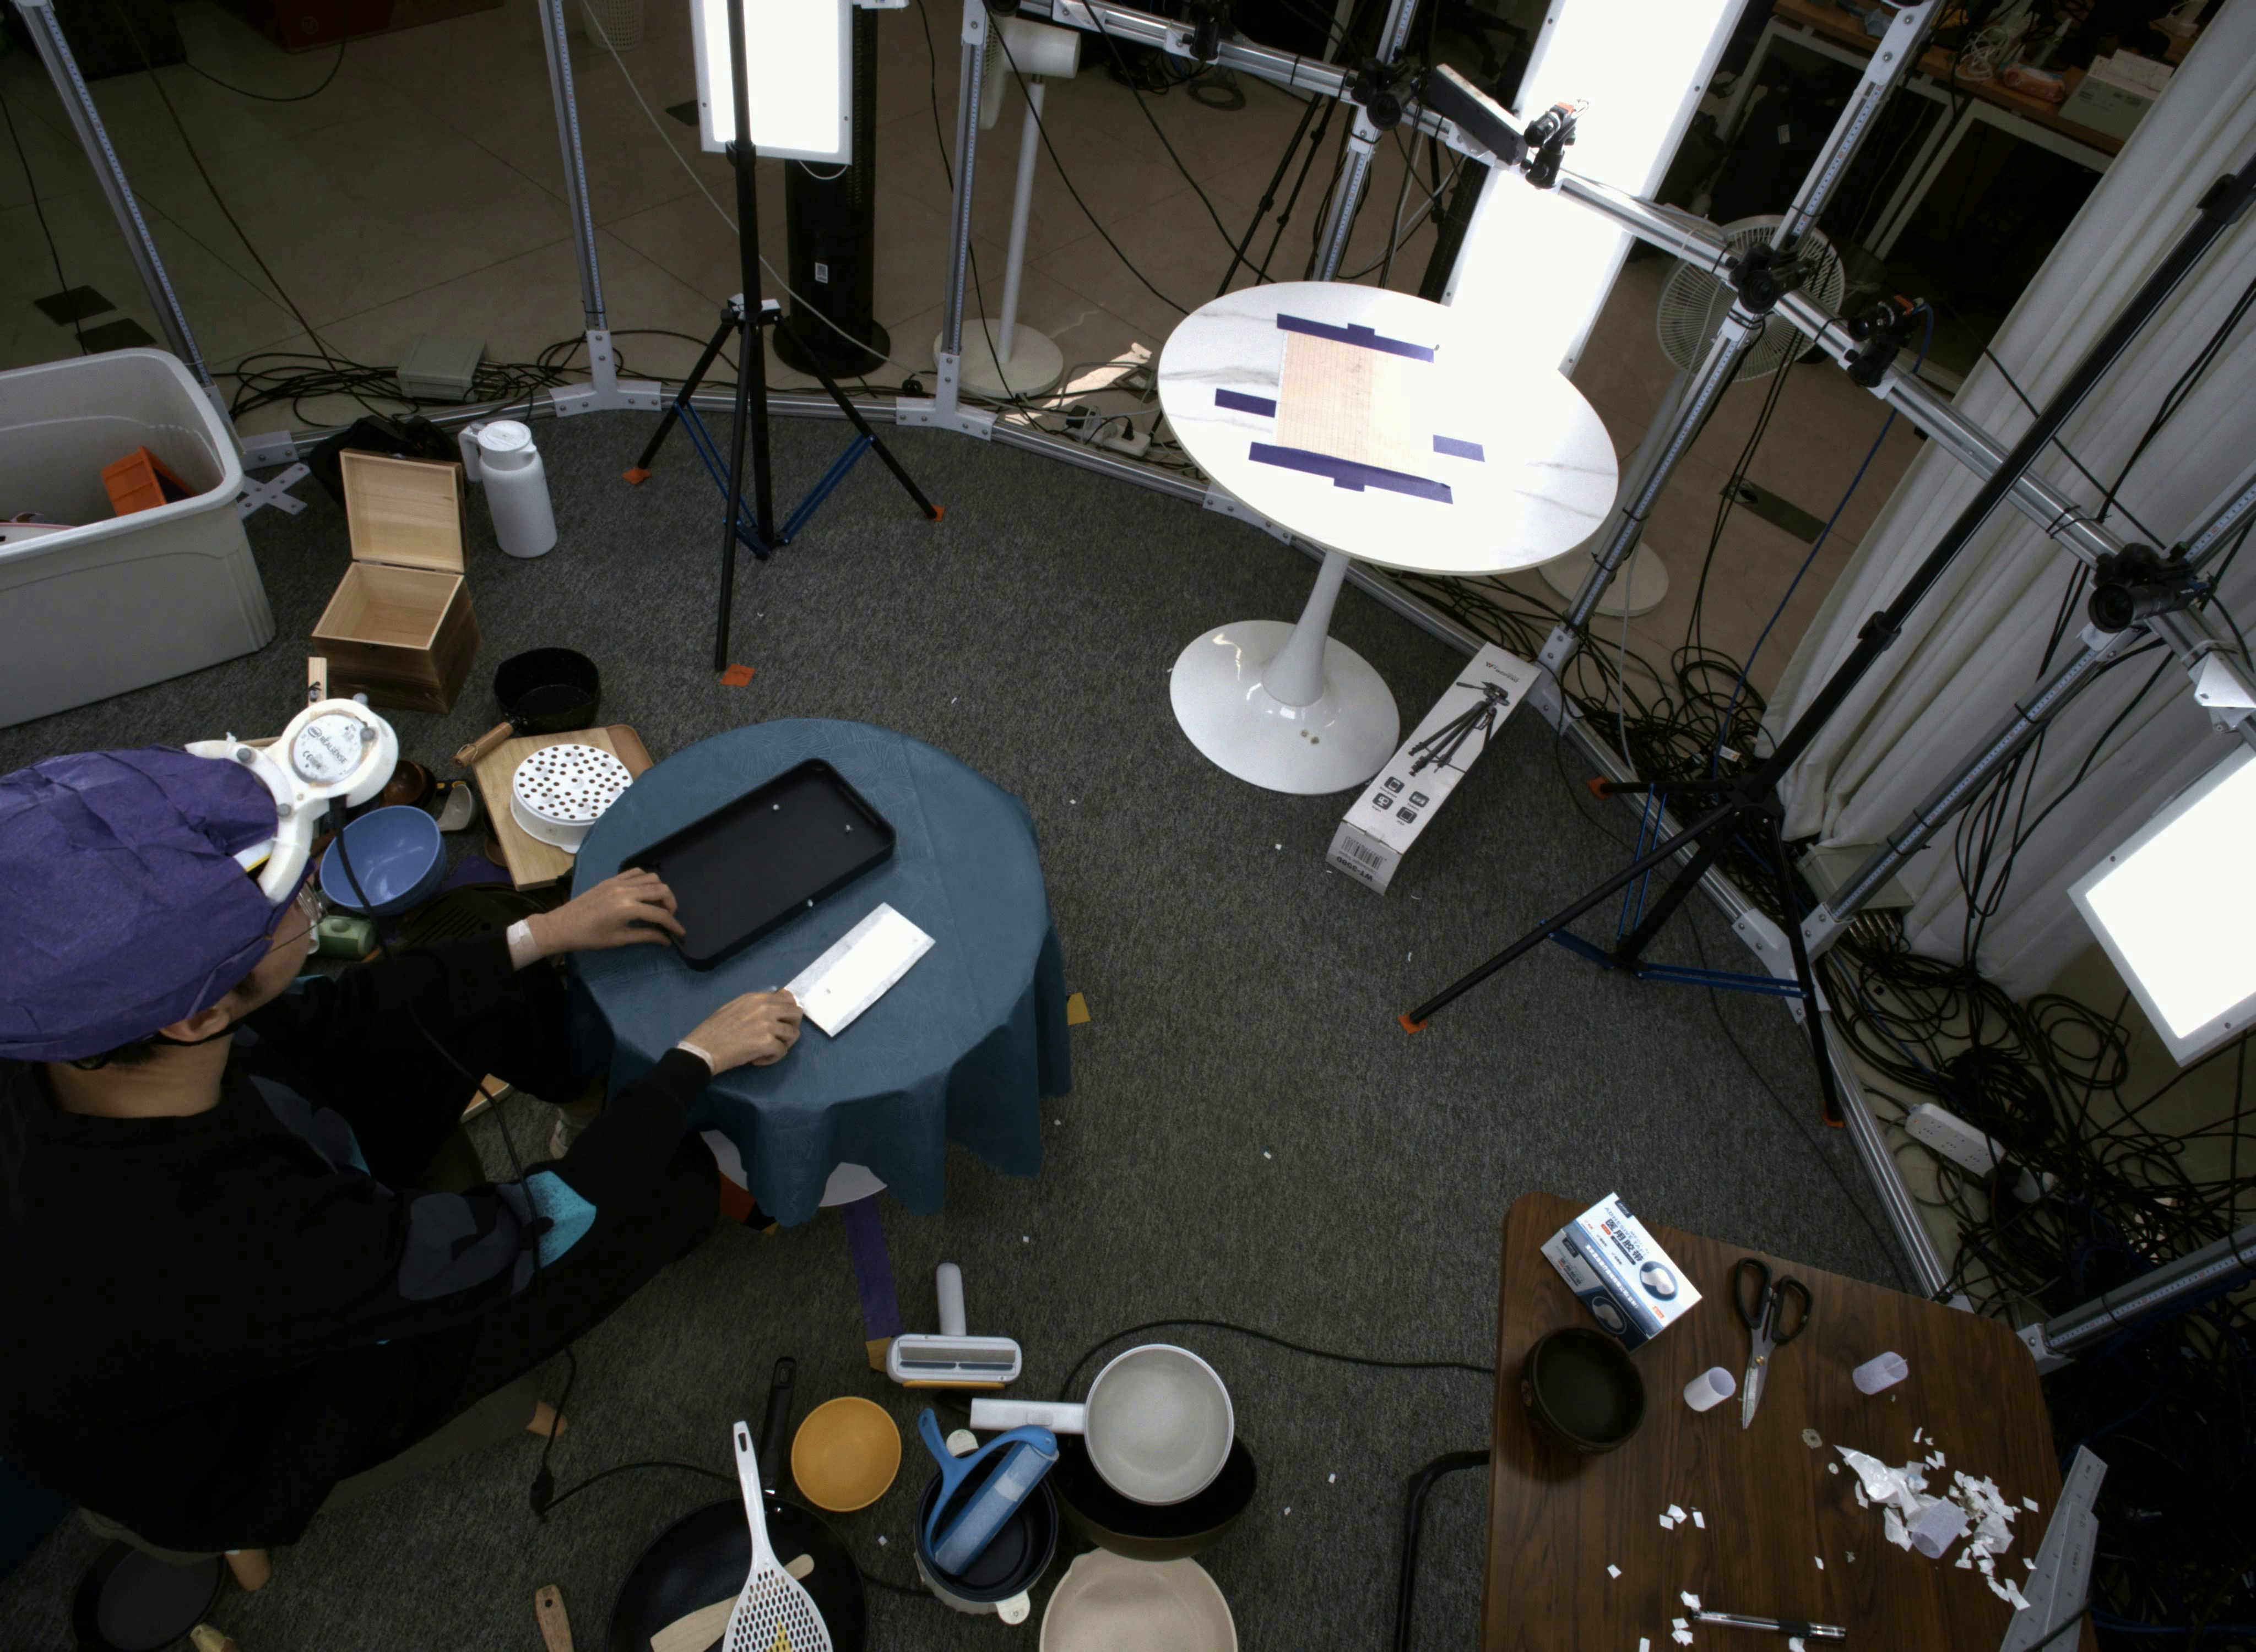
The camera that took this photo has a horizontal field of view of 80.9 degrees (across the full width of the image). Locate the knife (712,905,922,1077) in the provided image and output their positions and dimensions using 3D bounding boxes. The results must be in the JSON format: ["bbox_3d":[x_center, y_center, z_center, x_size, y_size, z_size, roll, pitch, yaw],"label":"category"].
[{"bbox_3d":[-0.365,0.204,1.567,0.091,0.021,0.305,36,51,11],"label":"knife"}]

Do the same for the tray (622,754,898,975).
[{"bbox_3d":[-0.465,0.040,1.649,0.180,0.038,0.318,41,55,16],"label":"tray"}]
